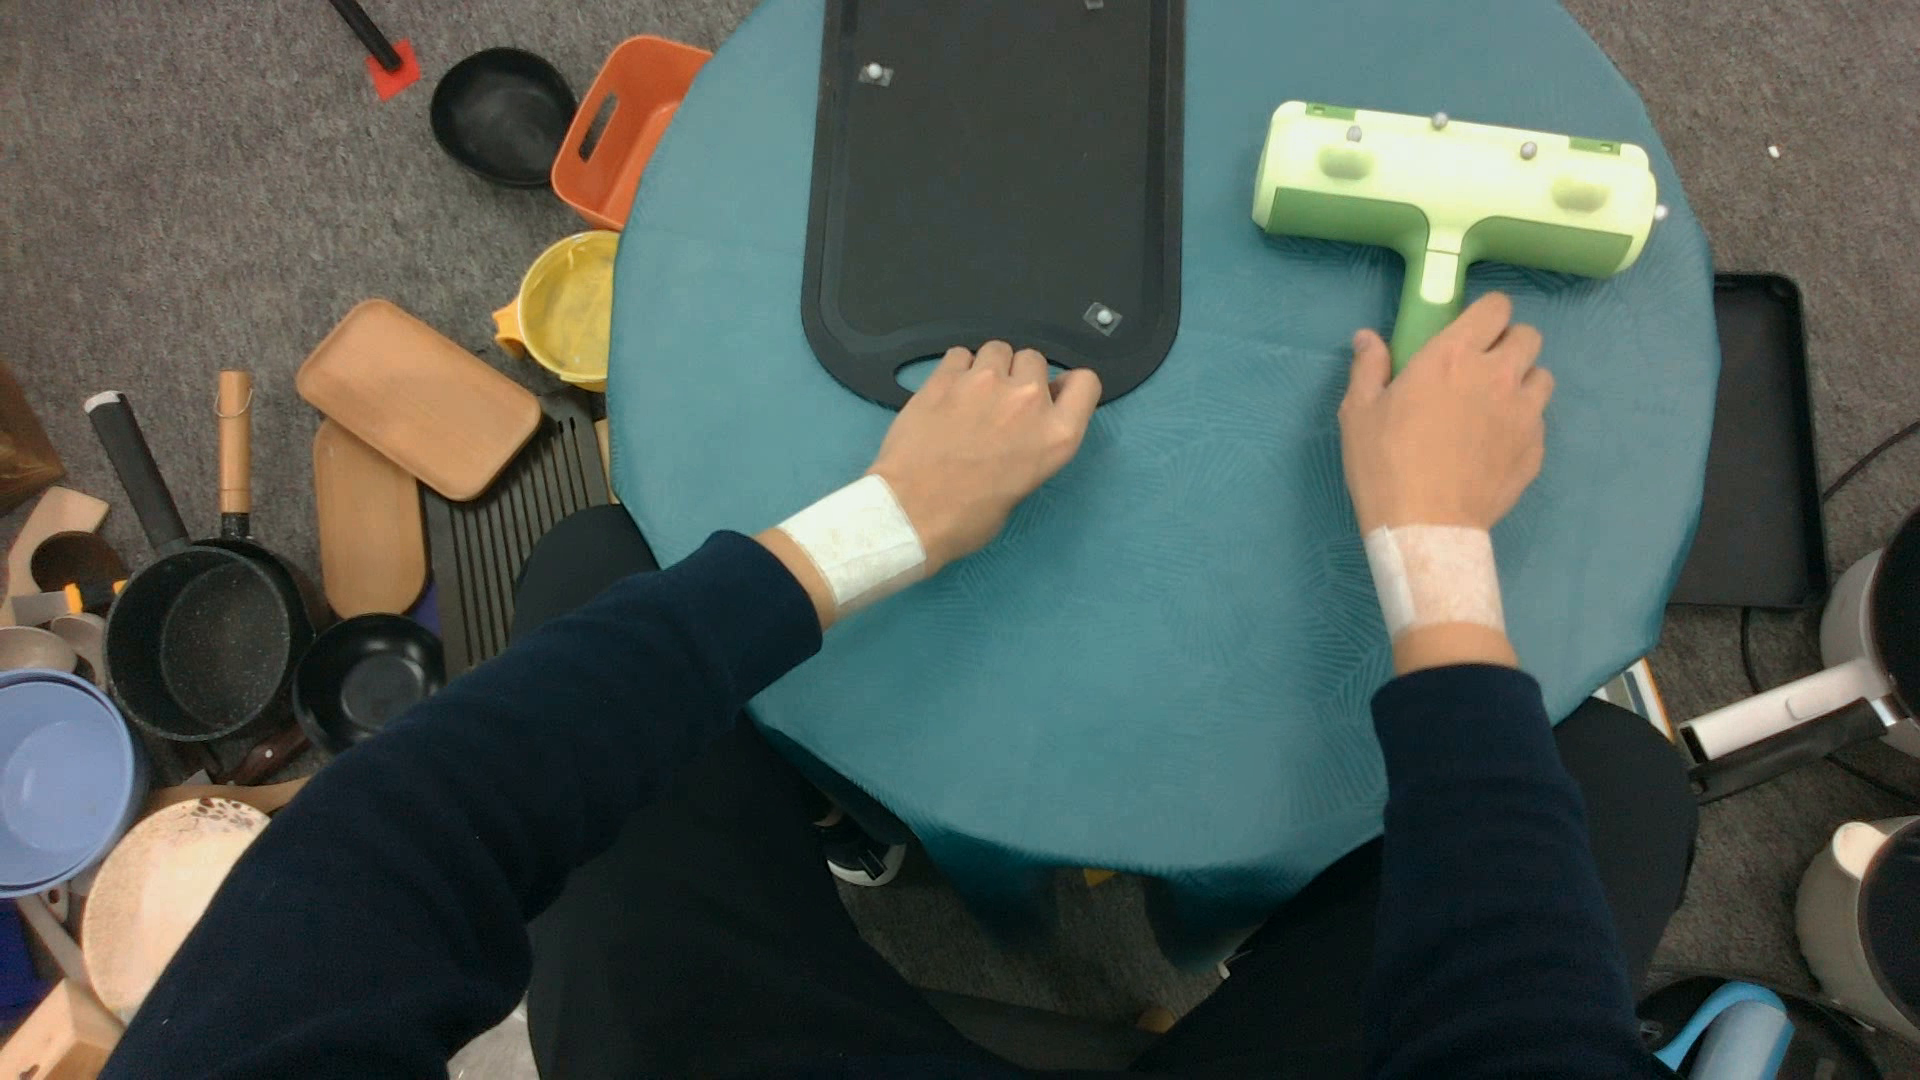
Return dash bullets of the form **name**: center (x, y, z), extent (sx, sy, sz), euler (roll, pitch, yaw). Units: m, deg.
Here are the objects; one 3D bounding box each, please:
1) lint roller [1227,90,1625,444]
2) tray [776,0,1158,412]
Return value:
- **lint roller**: center (0.234, -0.145, 0.703), extent (0.198, 0.082, 0.184), euler (7, 70, 6)
- **tray**: center (0.006, -0.227, 0.778), extent (0.211, 0.010, 0.326), euler (1, 76, 4)
